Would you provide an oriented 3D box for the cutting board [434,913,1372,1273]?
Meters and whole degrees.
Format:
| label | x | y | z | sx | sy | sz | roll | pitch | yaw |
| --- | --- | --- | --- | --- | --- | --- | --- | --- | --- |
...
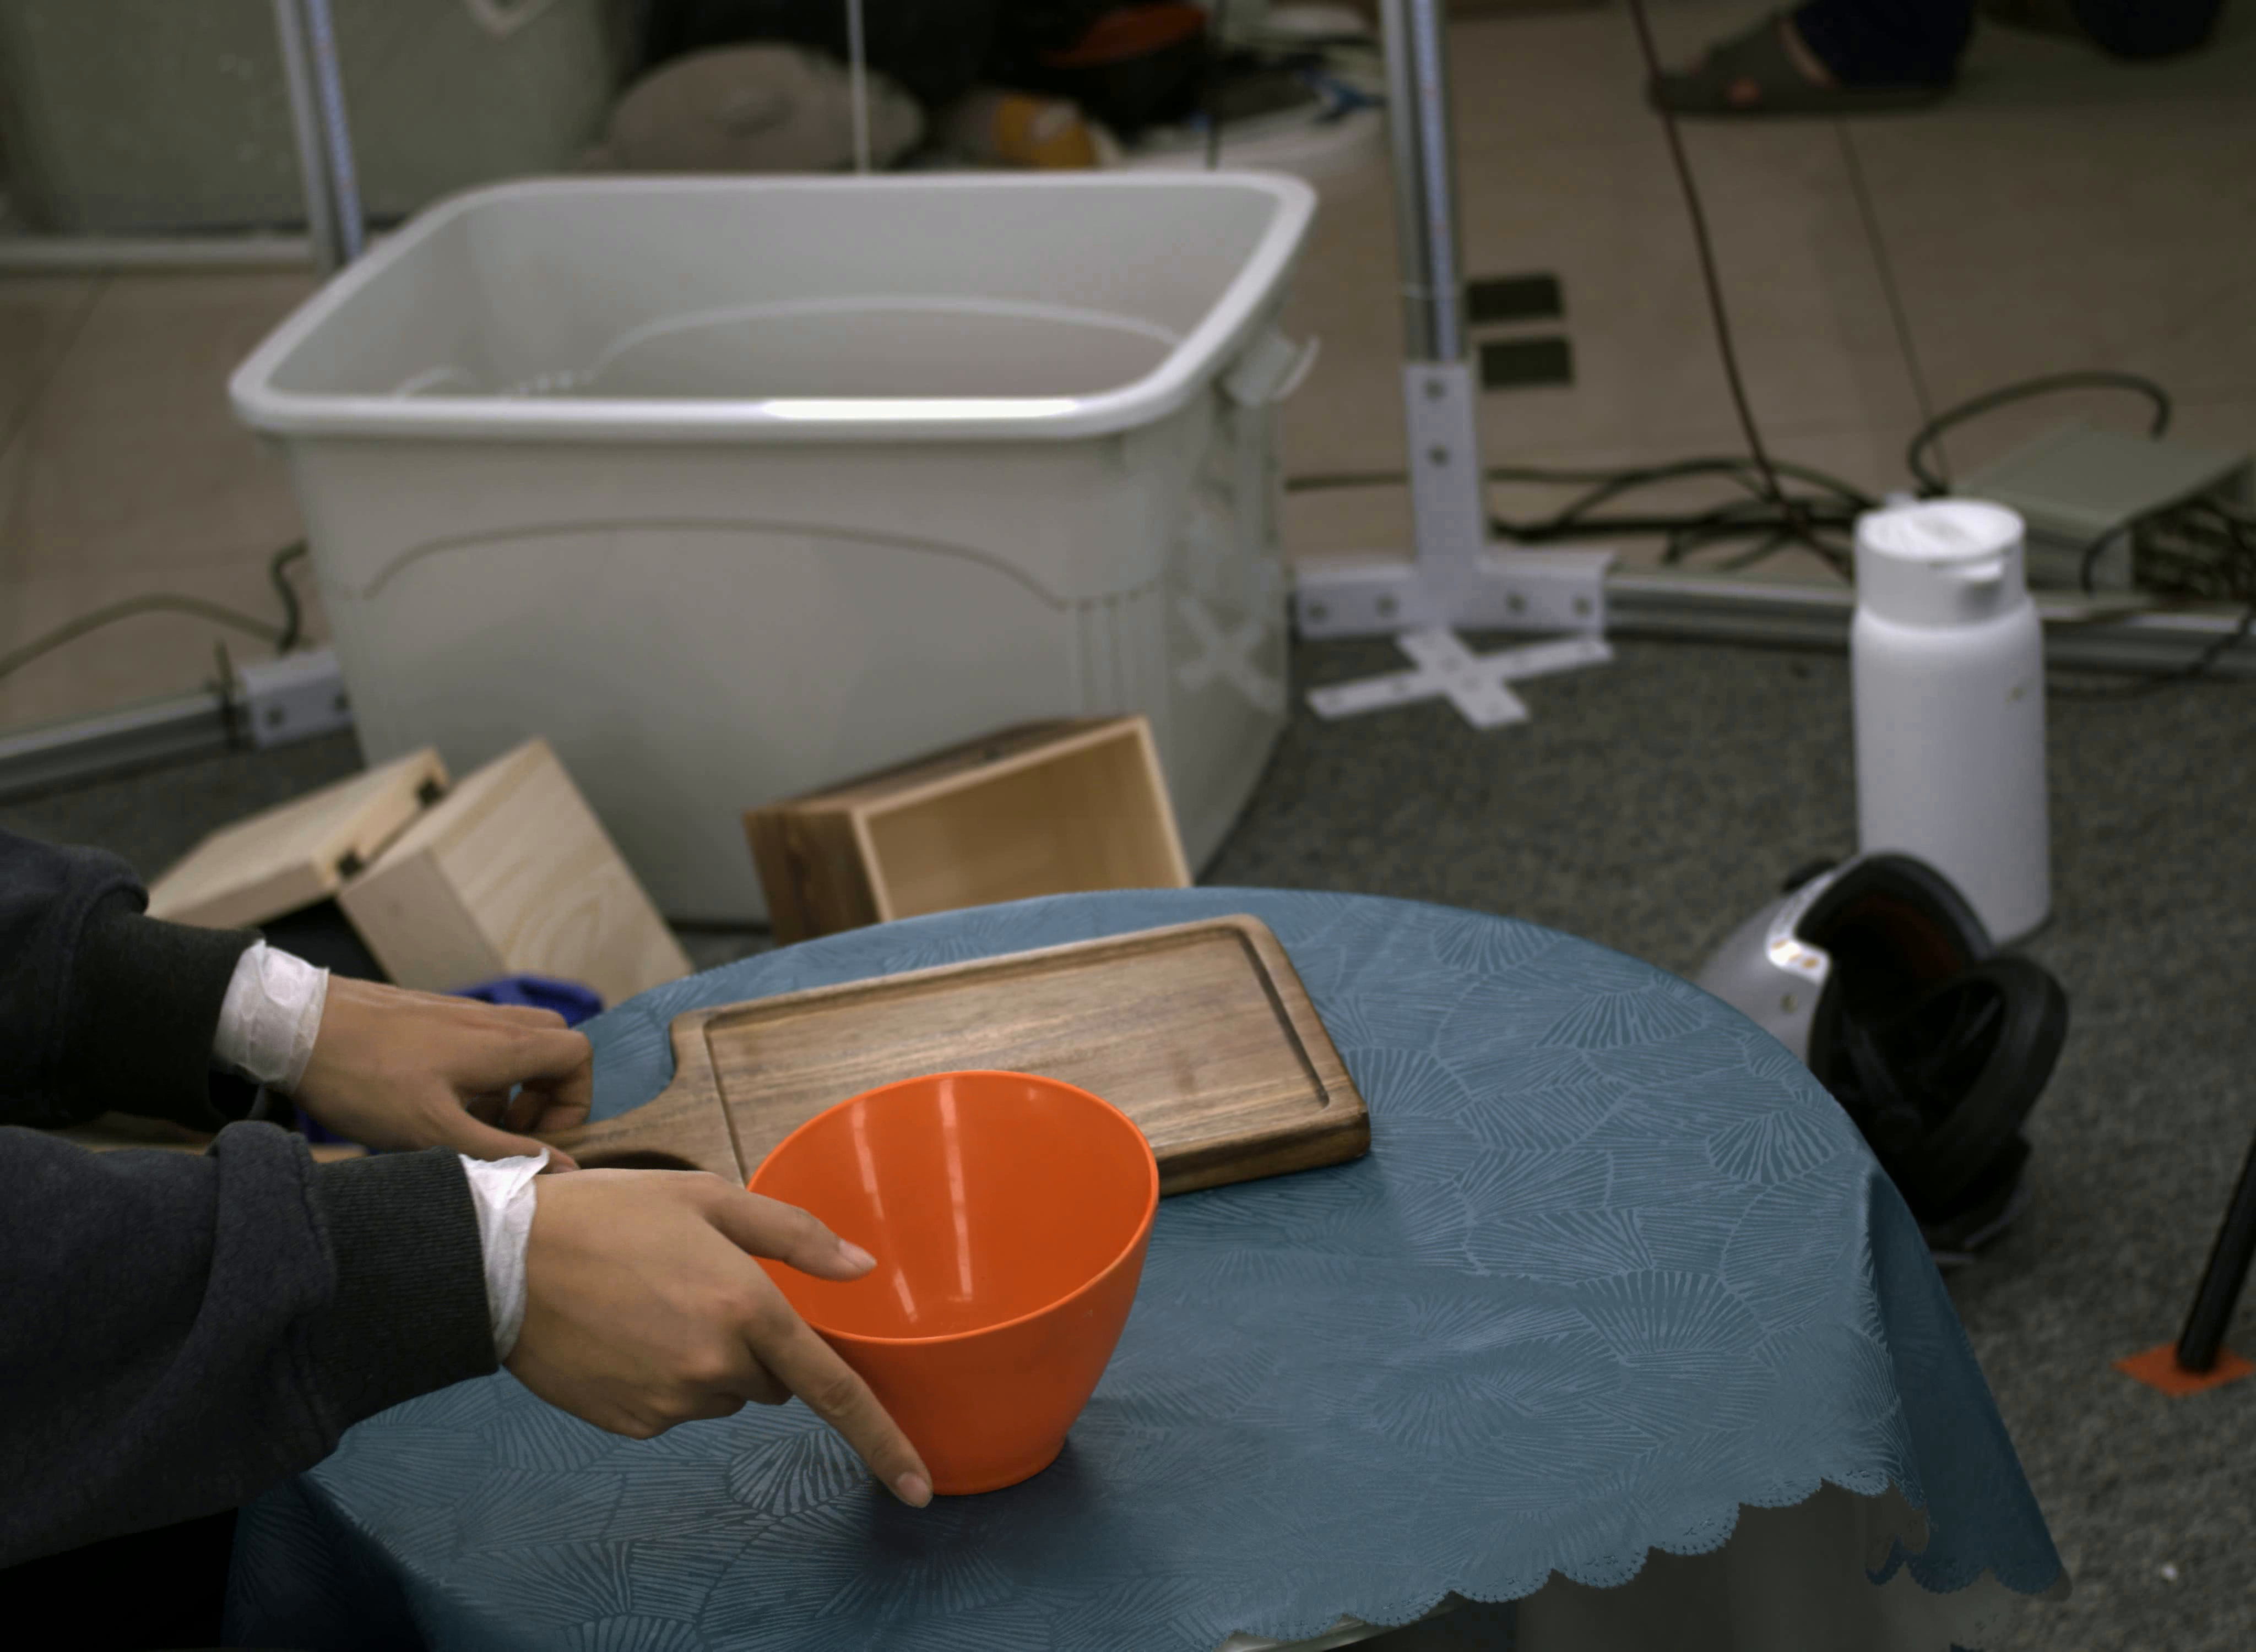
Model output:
| label | x | y | z | sx | sy | sz | roll | pitch | yaw |
| --- | --- | --- | --- | --- | --- | --- | --- | --- | --- |
| cutting board | -0.096 | 0.109 | 2.211 | 0.351 | 0.023 | 0.198 | -10 | 25 | -7 |

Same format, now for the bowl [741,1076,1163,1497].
| label | x | y | z | sx | sy | sz | roll | pitch | yaw |
| --- | --- | --- | --- | --- | --- | --- | --- | --- | --- |
| bowl | -0.058 | 0.167 | 1.979 | 0.148 | 0.106 | 0.146 | -4 | 25 | 2 |
